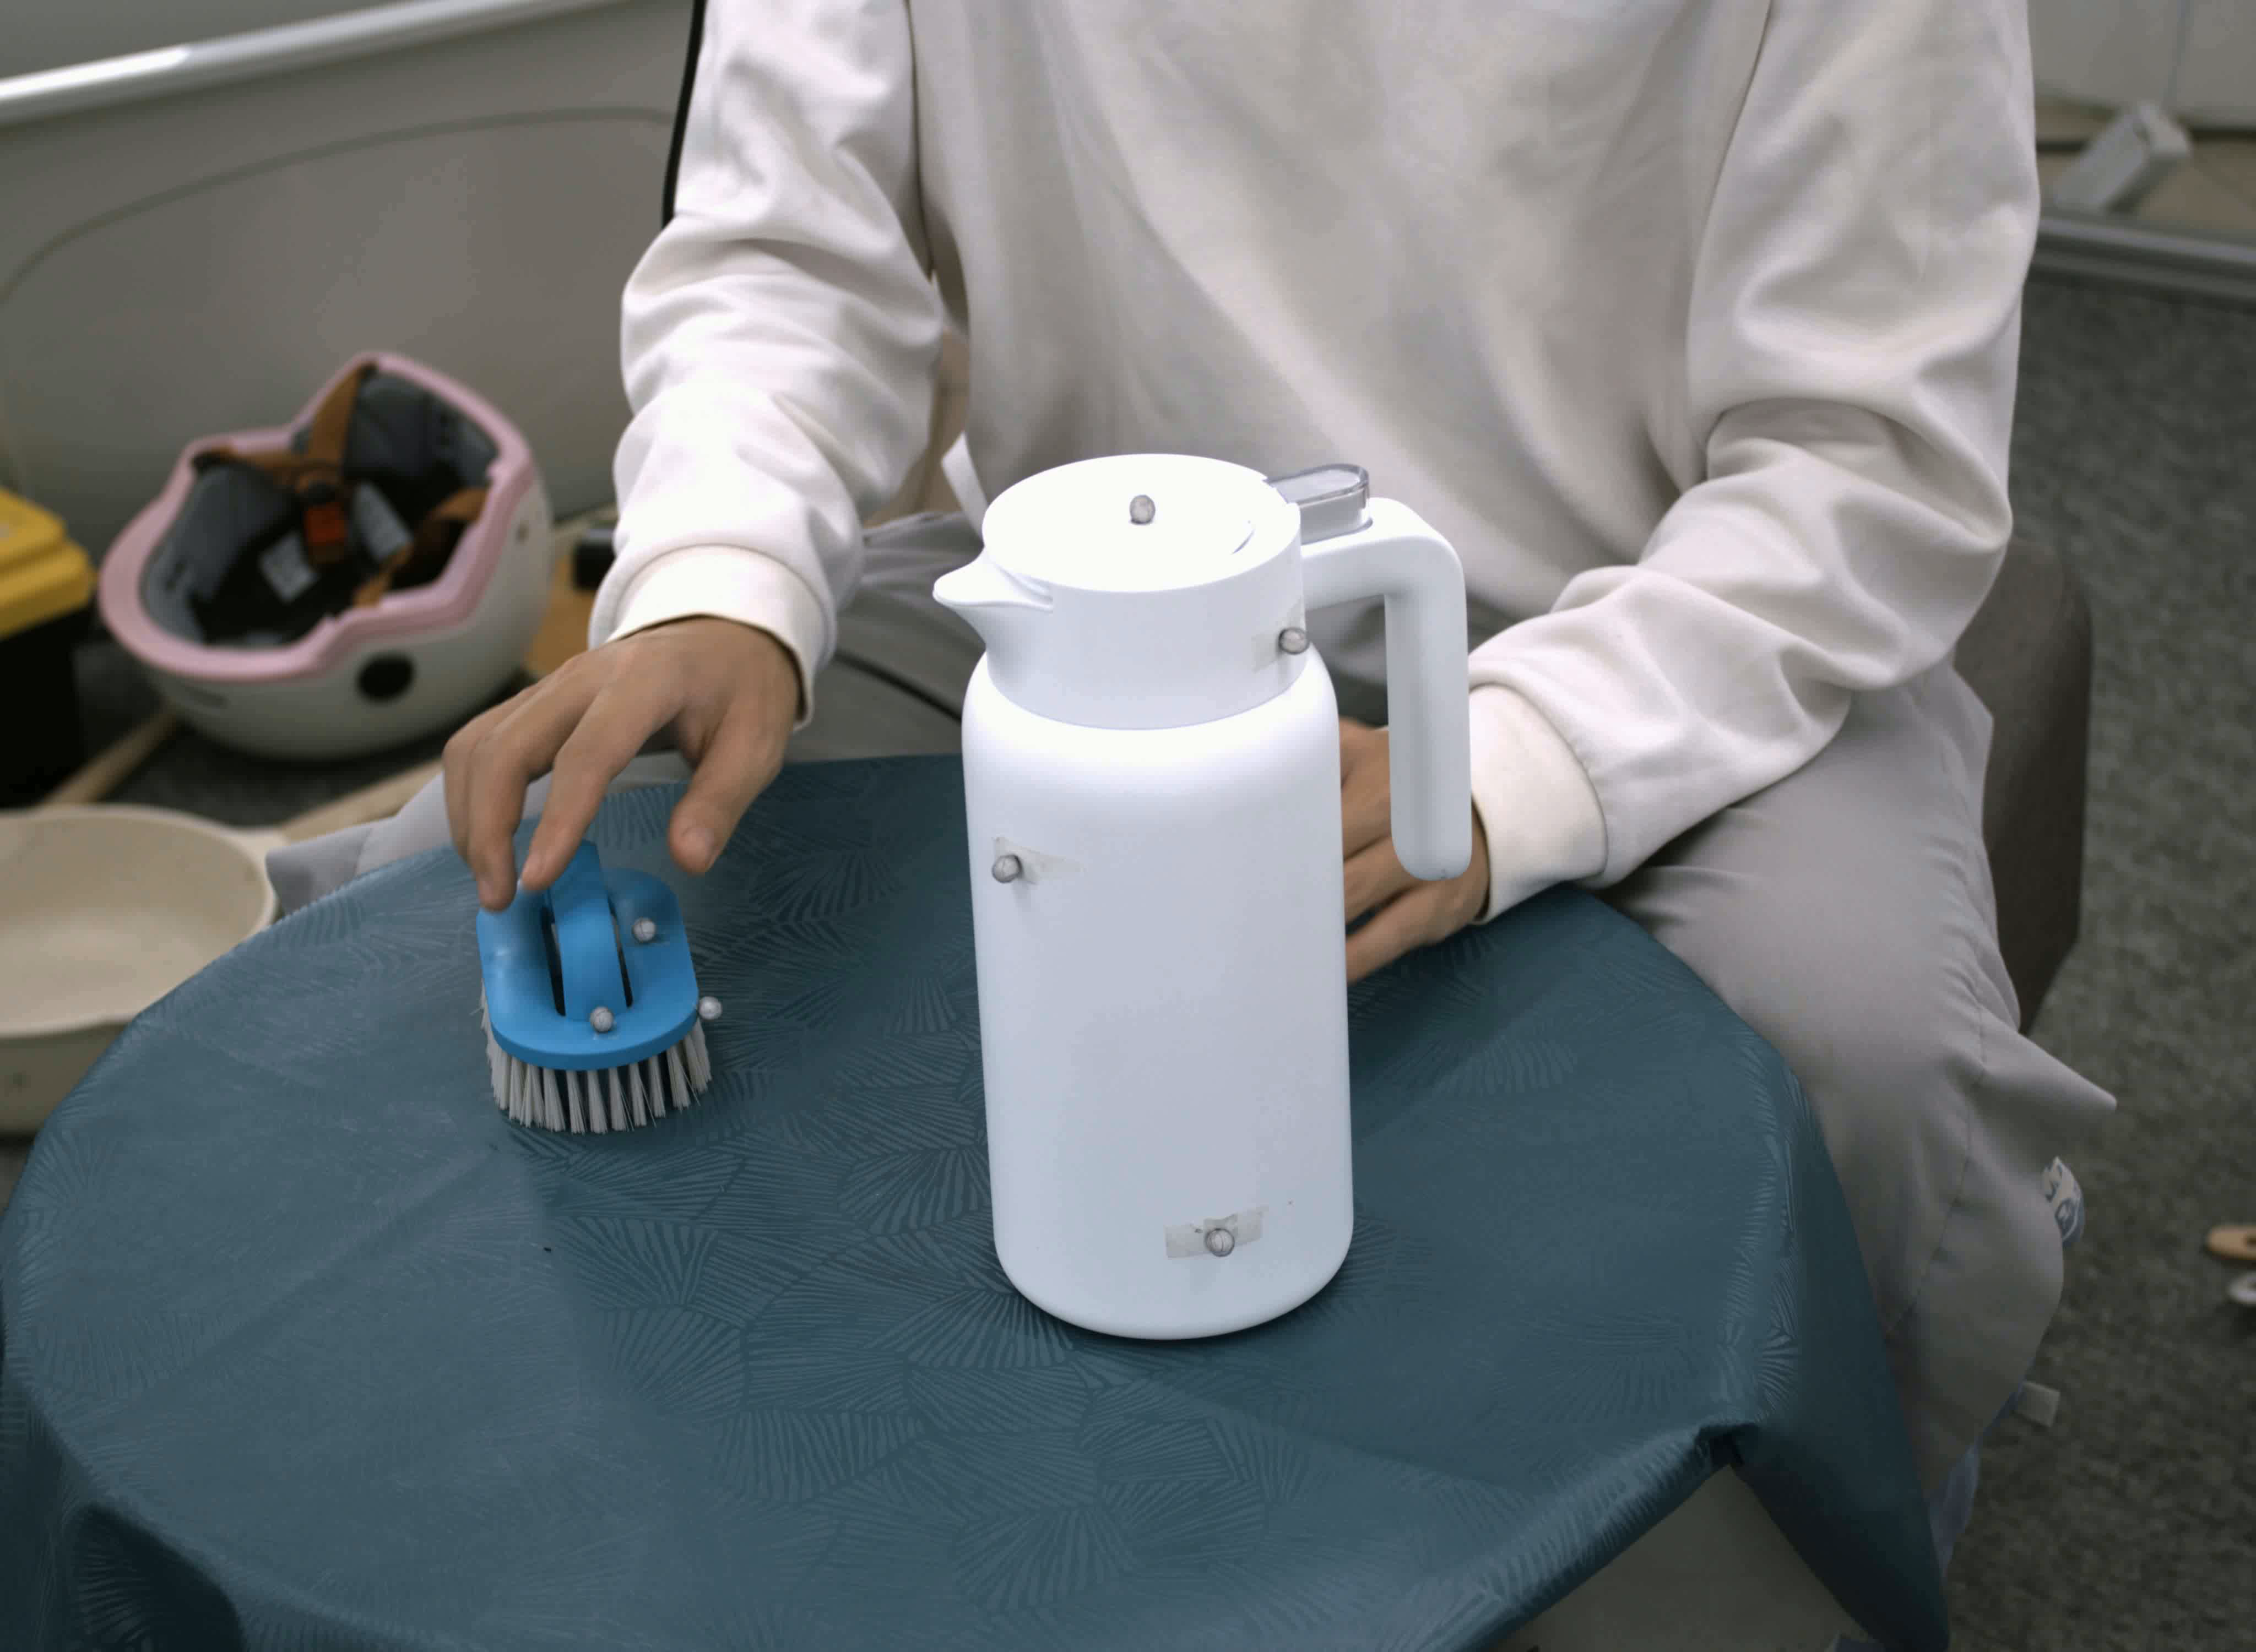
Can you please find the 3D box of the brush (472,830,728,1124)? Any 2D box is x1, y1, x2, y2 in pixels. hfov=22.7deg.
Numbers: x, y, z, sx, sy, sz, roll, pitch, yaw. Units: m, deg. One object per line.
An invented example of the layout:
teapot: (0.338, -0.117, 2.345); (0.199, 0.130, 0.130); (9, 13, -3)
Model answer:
brush: (-0.188, 0.044, 1.960); (0.084, 0.063, 0.143); (-10, 27, -4)

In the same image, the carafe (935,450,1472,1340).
carafe: (0.026, 0.018, 1.777); (0.173, 0.266, 0.124); (-13, 26, -21)
